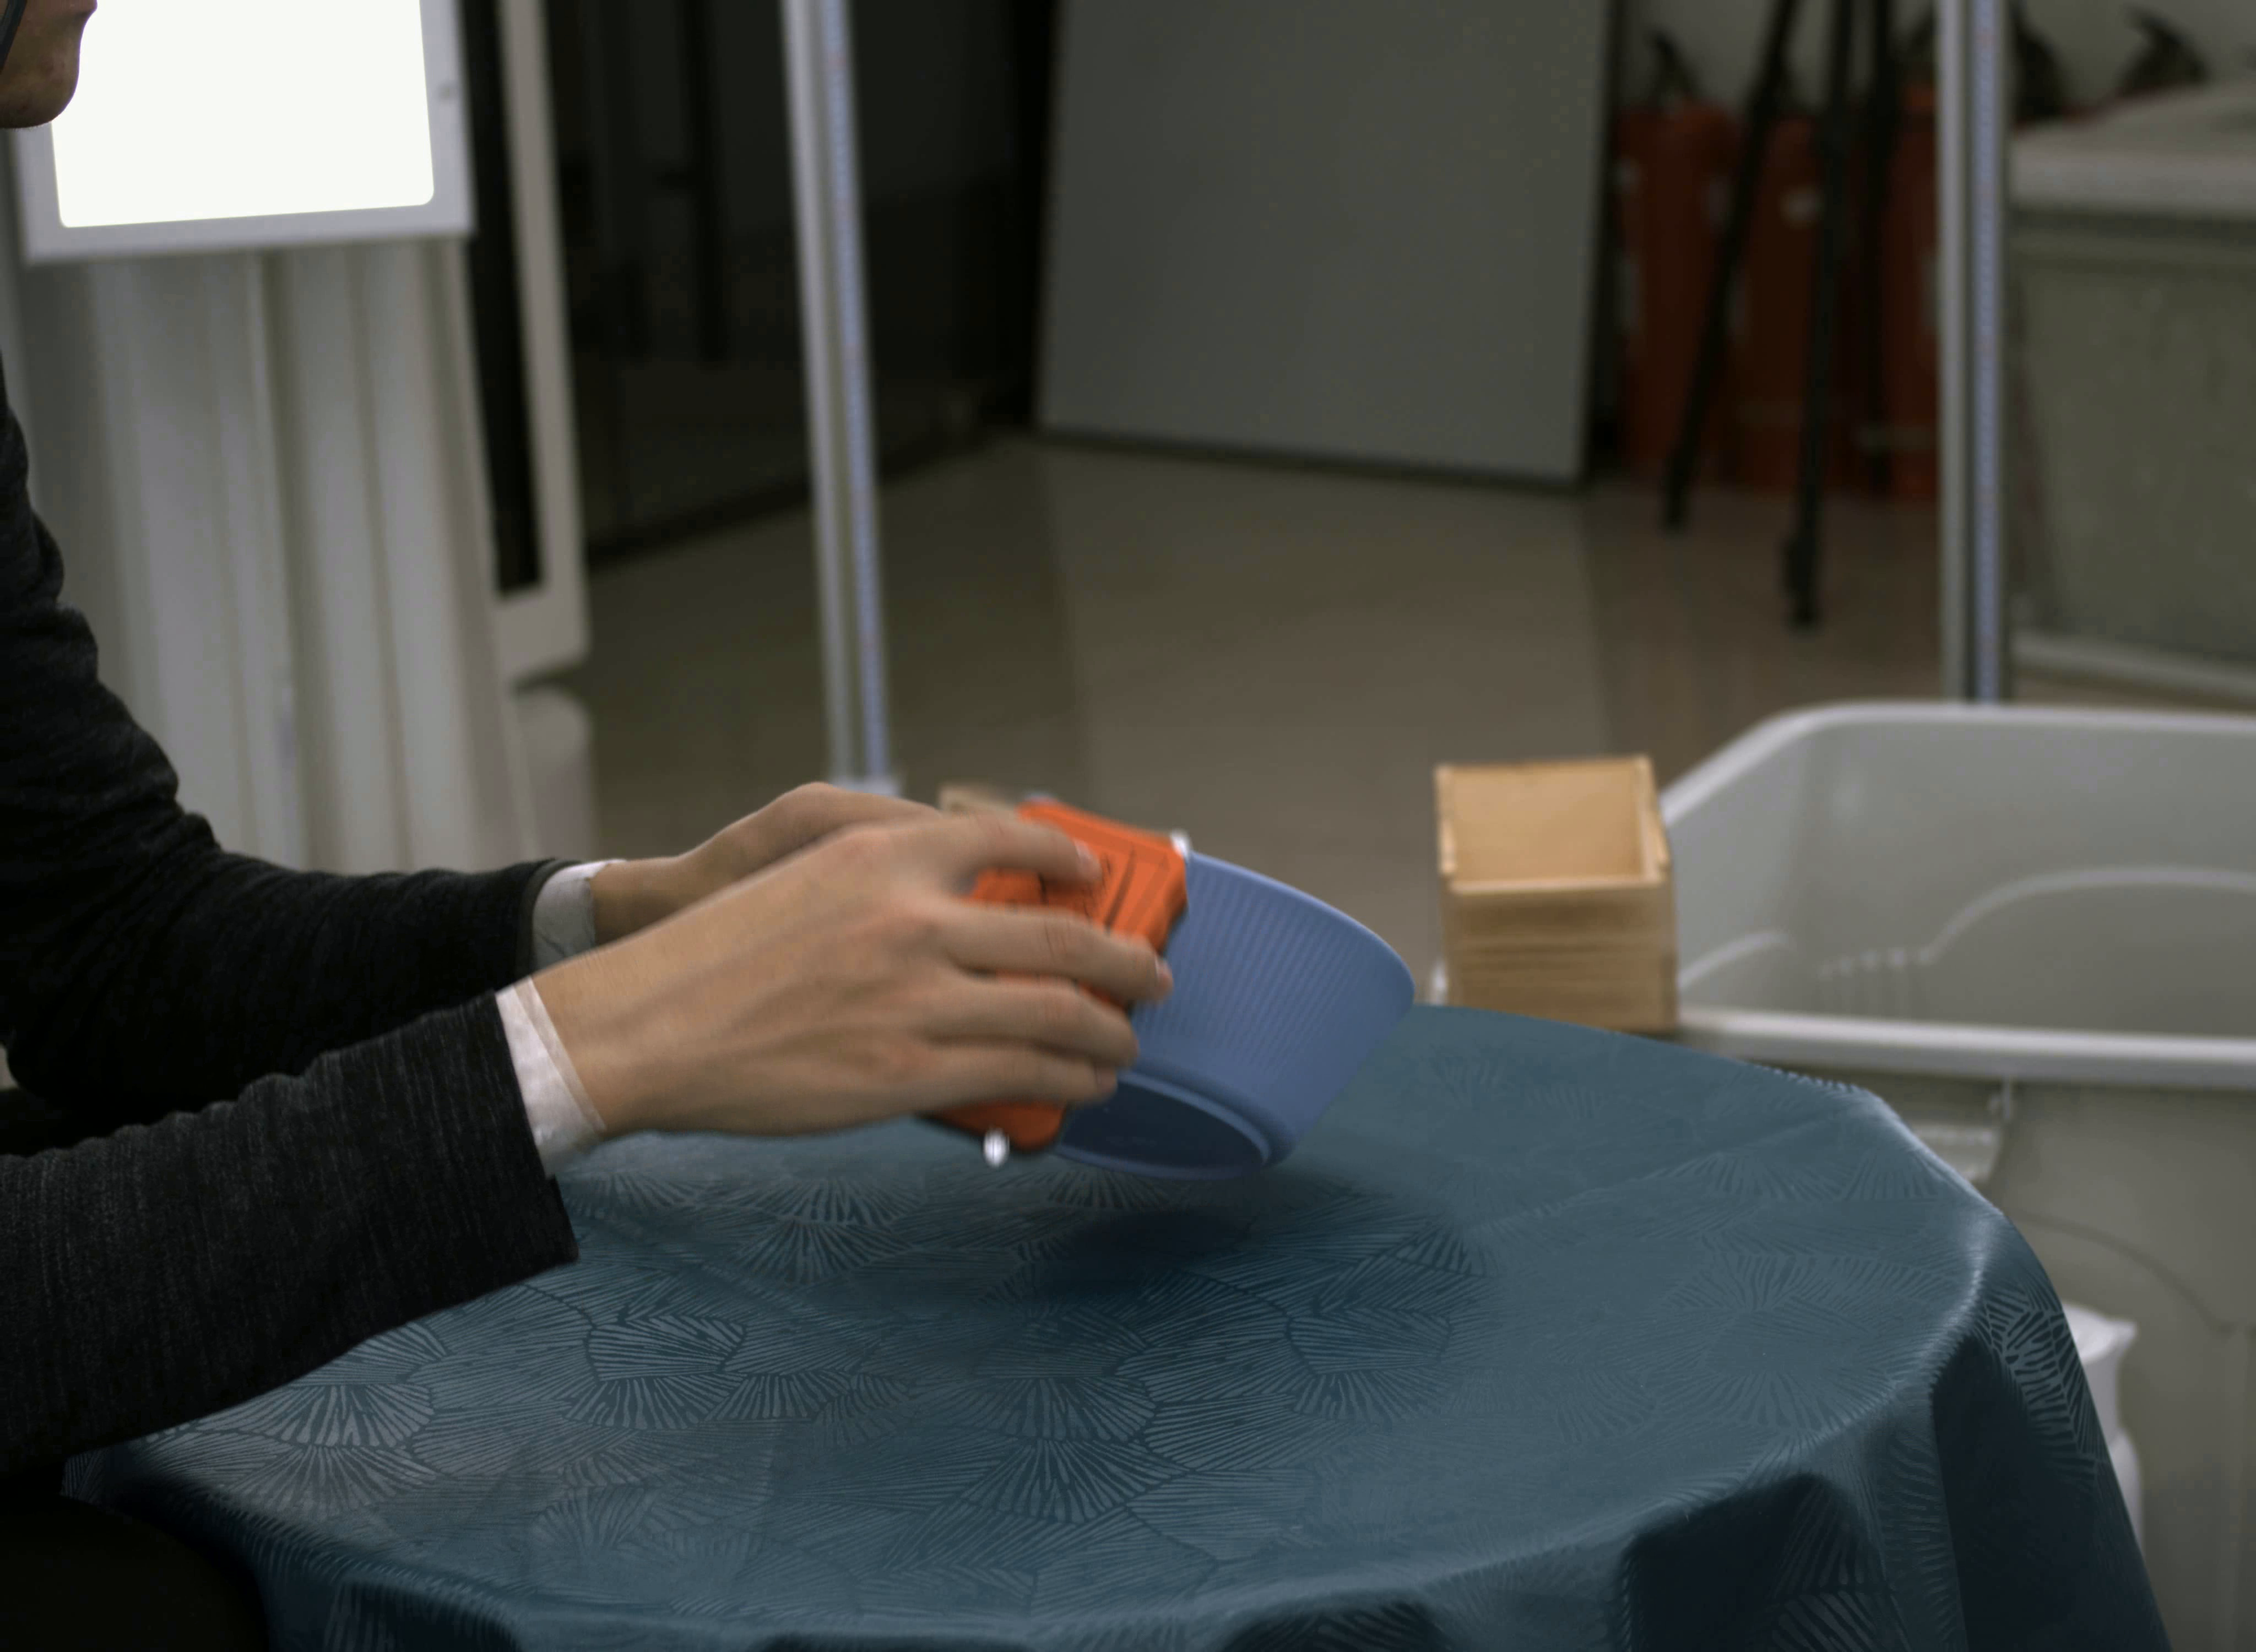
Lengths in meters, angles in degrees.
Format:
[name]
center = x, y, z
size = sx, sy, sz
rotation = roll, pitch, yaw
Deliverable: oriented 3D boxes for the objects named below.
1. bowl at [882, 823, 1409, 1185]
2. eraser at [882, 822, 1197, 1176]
[bowl]
center = -0.001, 0.064, 1.723
size = 0.174, 0.071, 0.176
rotation = 13, -19, 3
[eraser]
center = -0.025, 0.050, 1.584
size = 0.059, 0.023, 0.108
rotation = 18, 56, 20
